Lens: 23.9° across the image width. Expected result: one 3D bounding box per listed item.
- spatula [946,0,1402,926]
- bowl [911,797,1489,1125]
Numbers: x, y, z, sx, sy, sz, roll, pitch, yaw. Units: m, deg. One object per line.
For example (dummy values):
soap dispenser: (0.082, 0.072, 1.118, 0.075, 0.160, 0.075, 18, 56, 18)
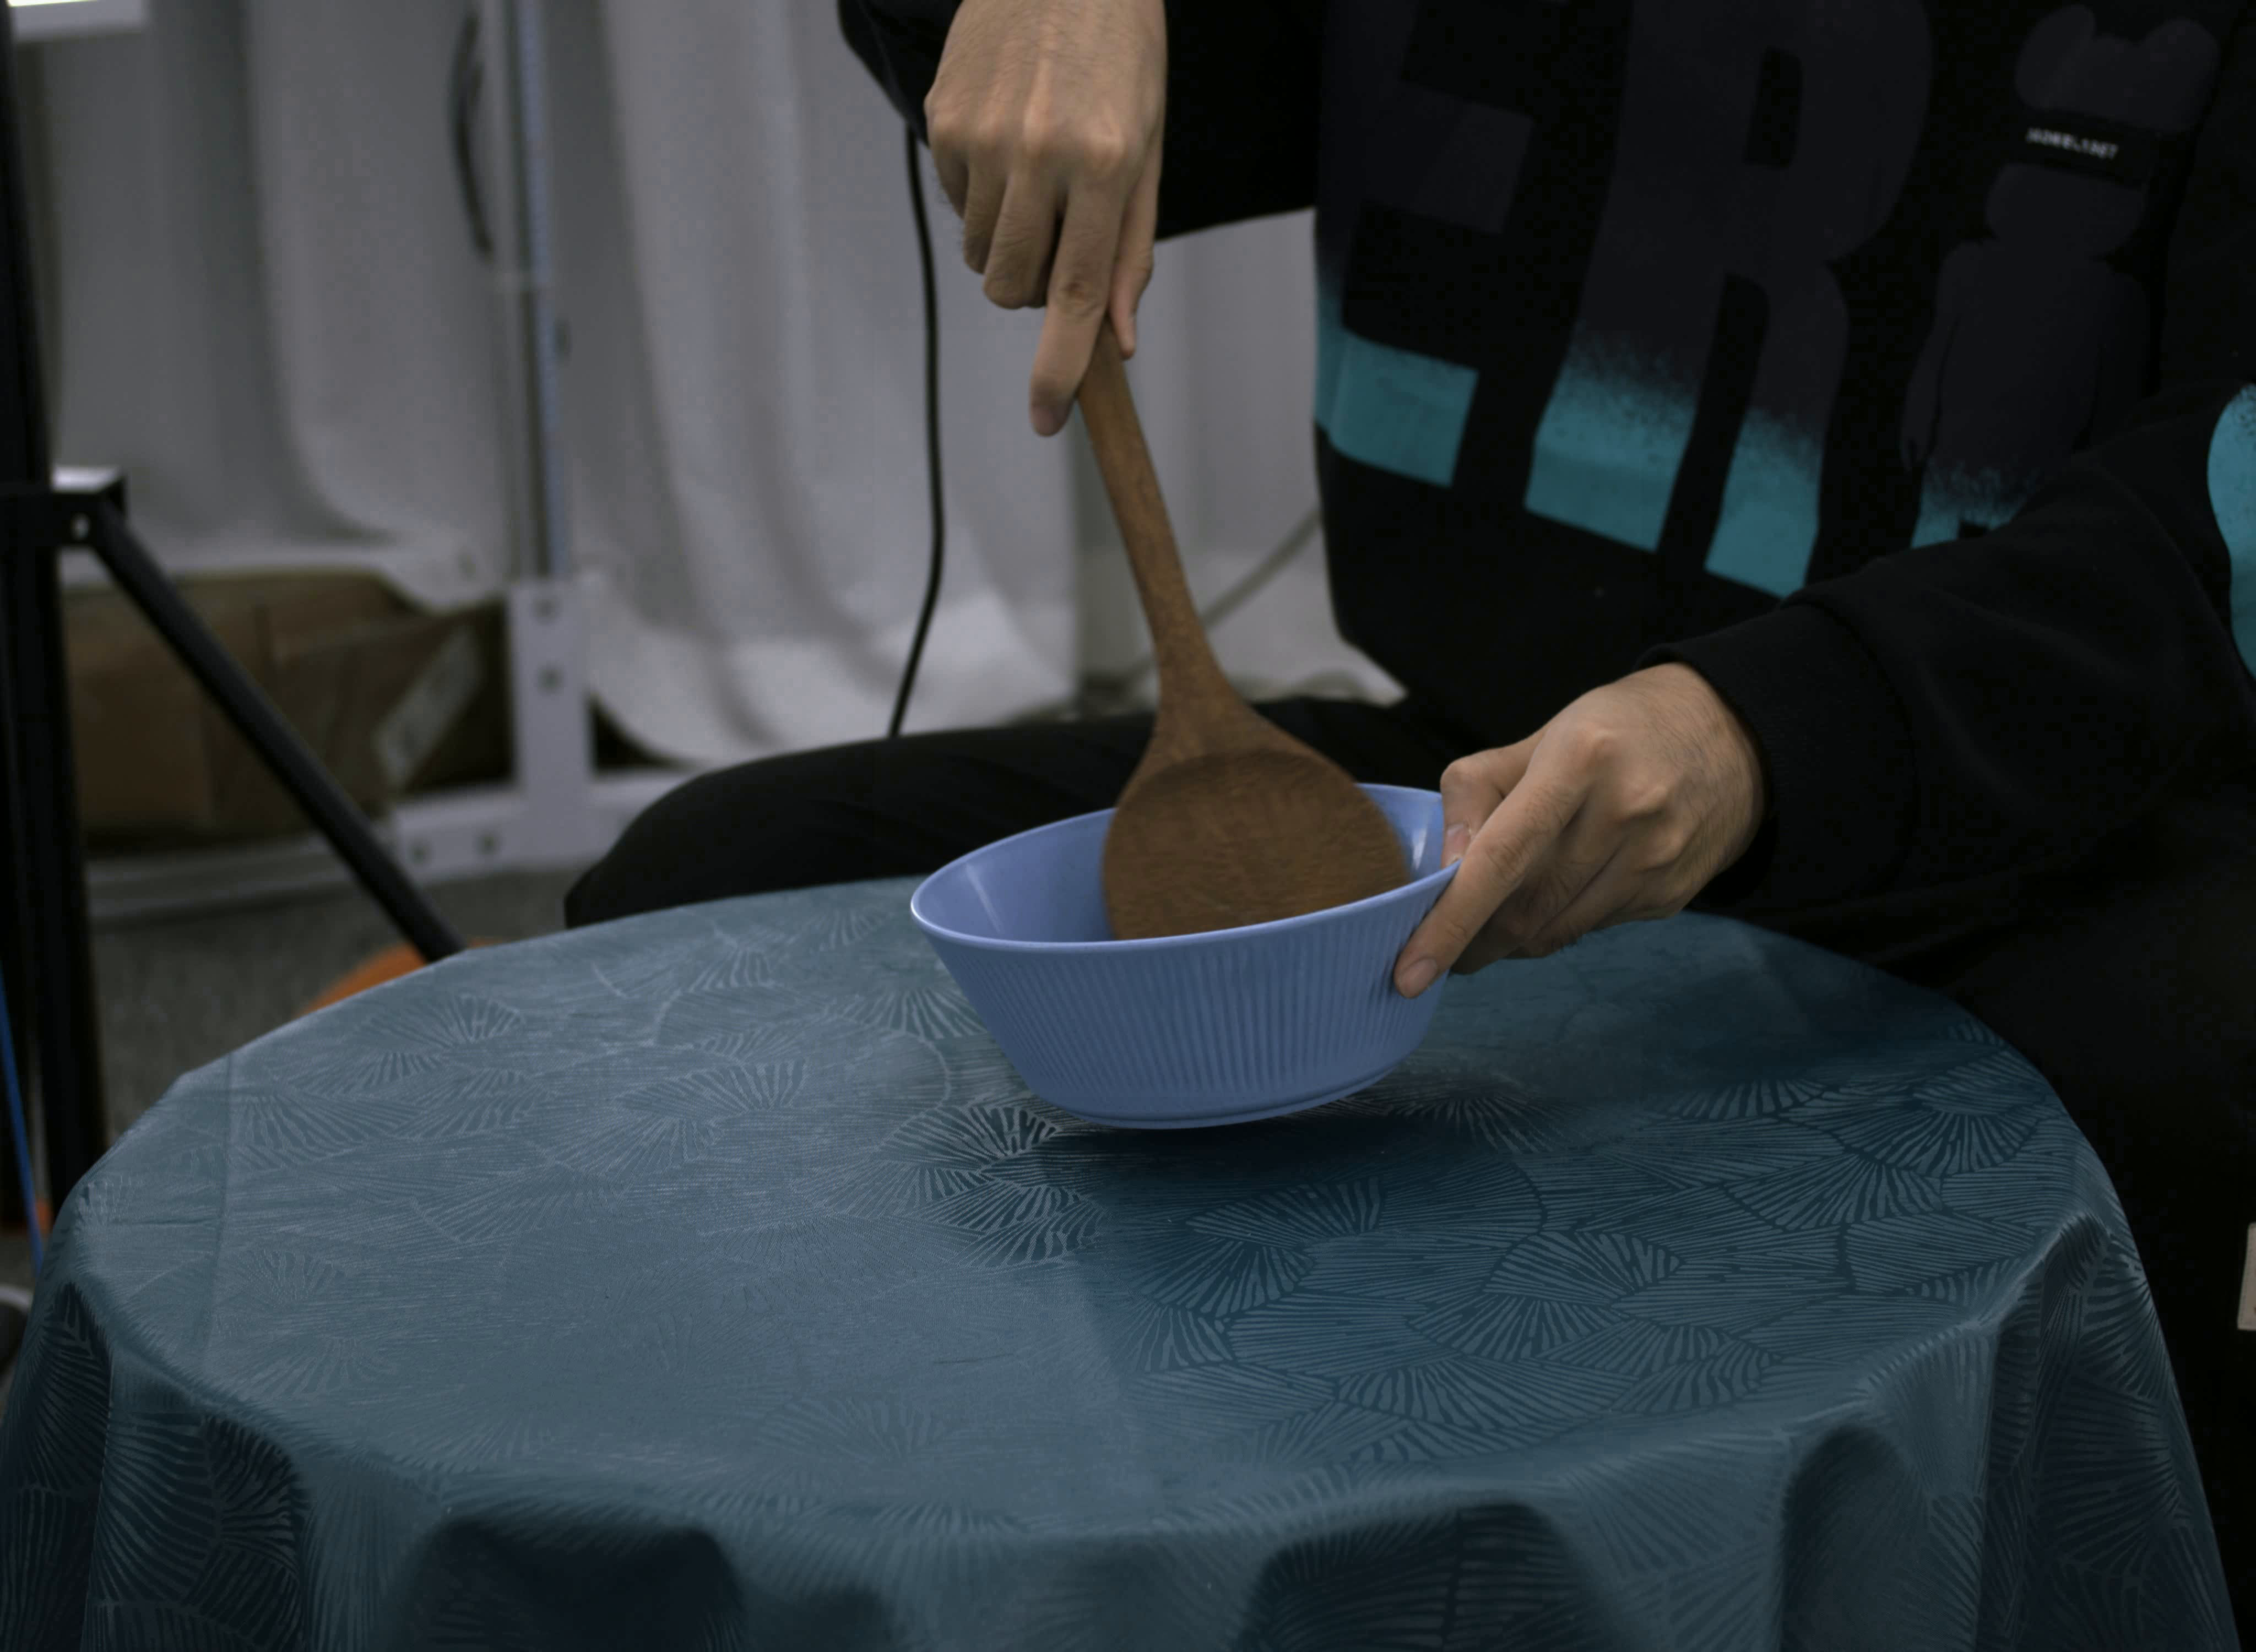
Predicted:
spatula: (-0.002, -0.111, 1.690, 0.095, 0.392, 0.015, -13, -27, -6)
bowl: (0.025, 0.043, 1.601, 0.175, 0.070, 0.177, -7, 12, 0)
